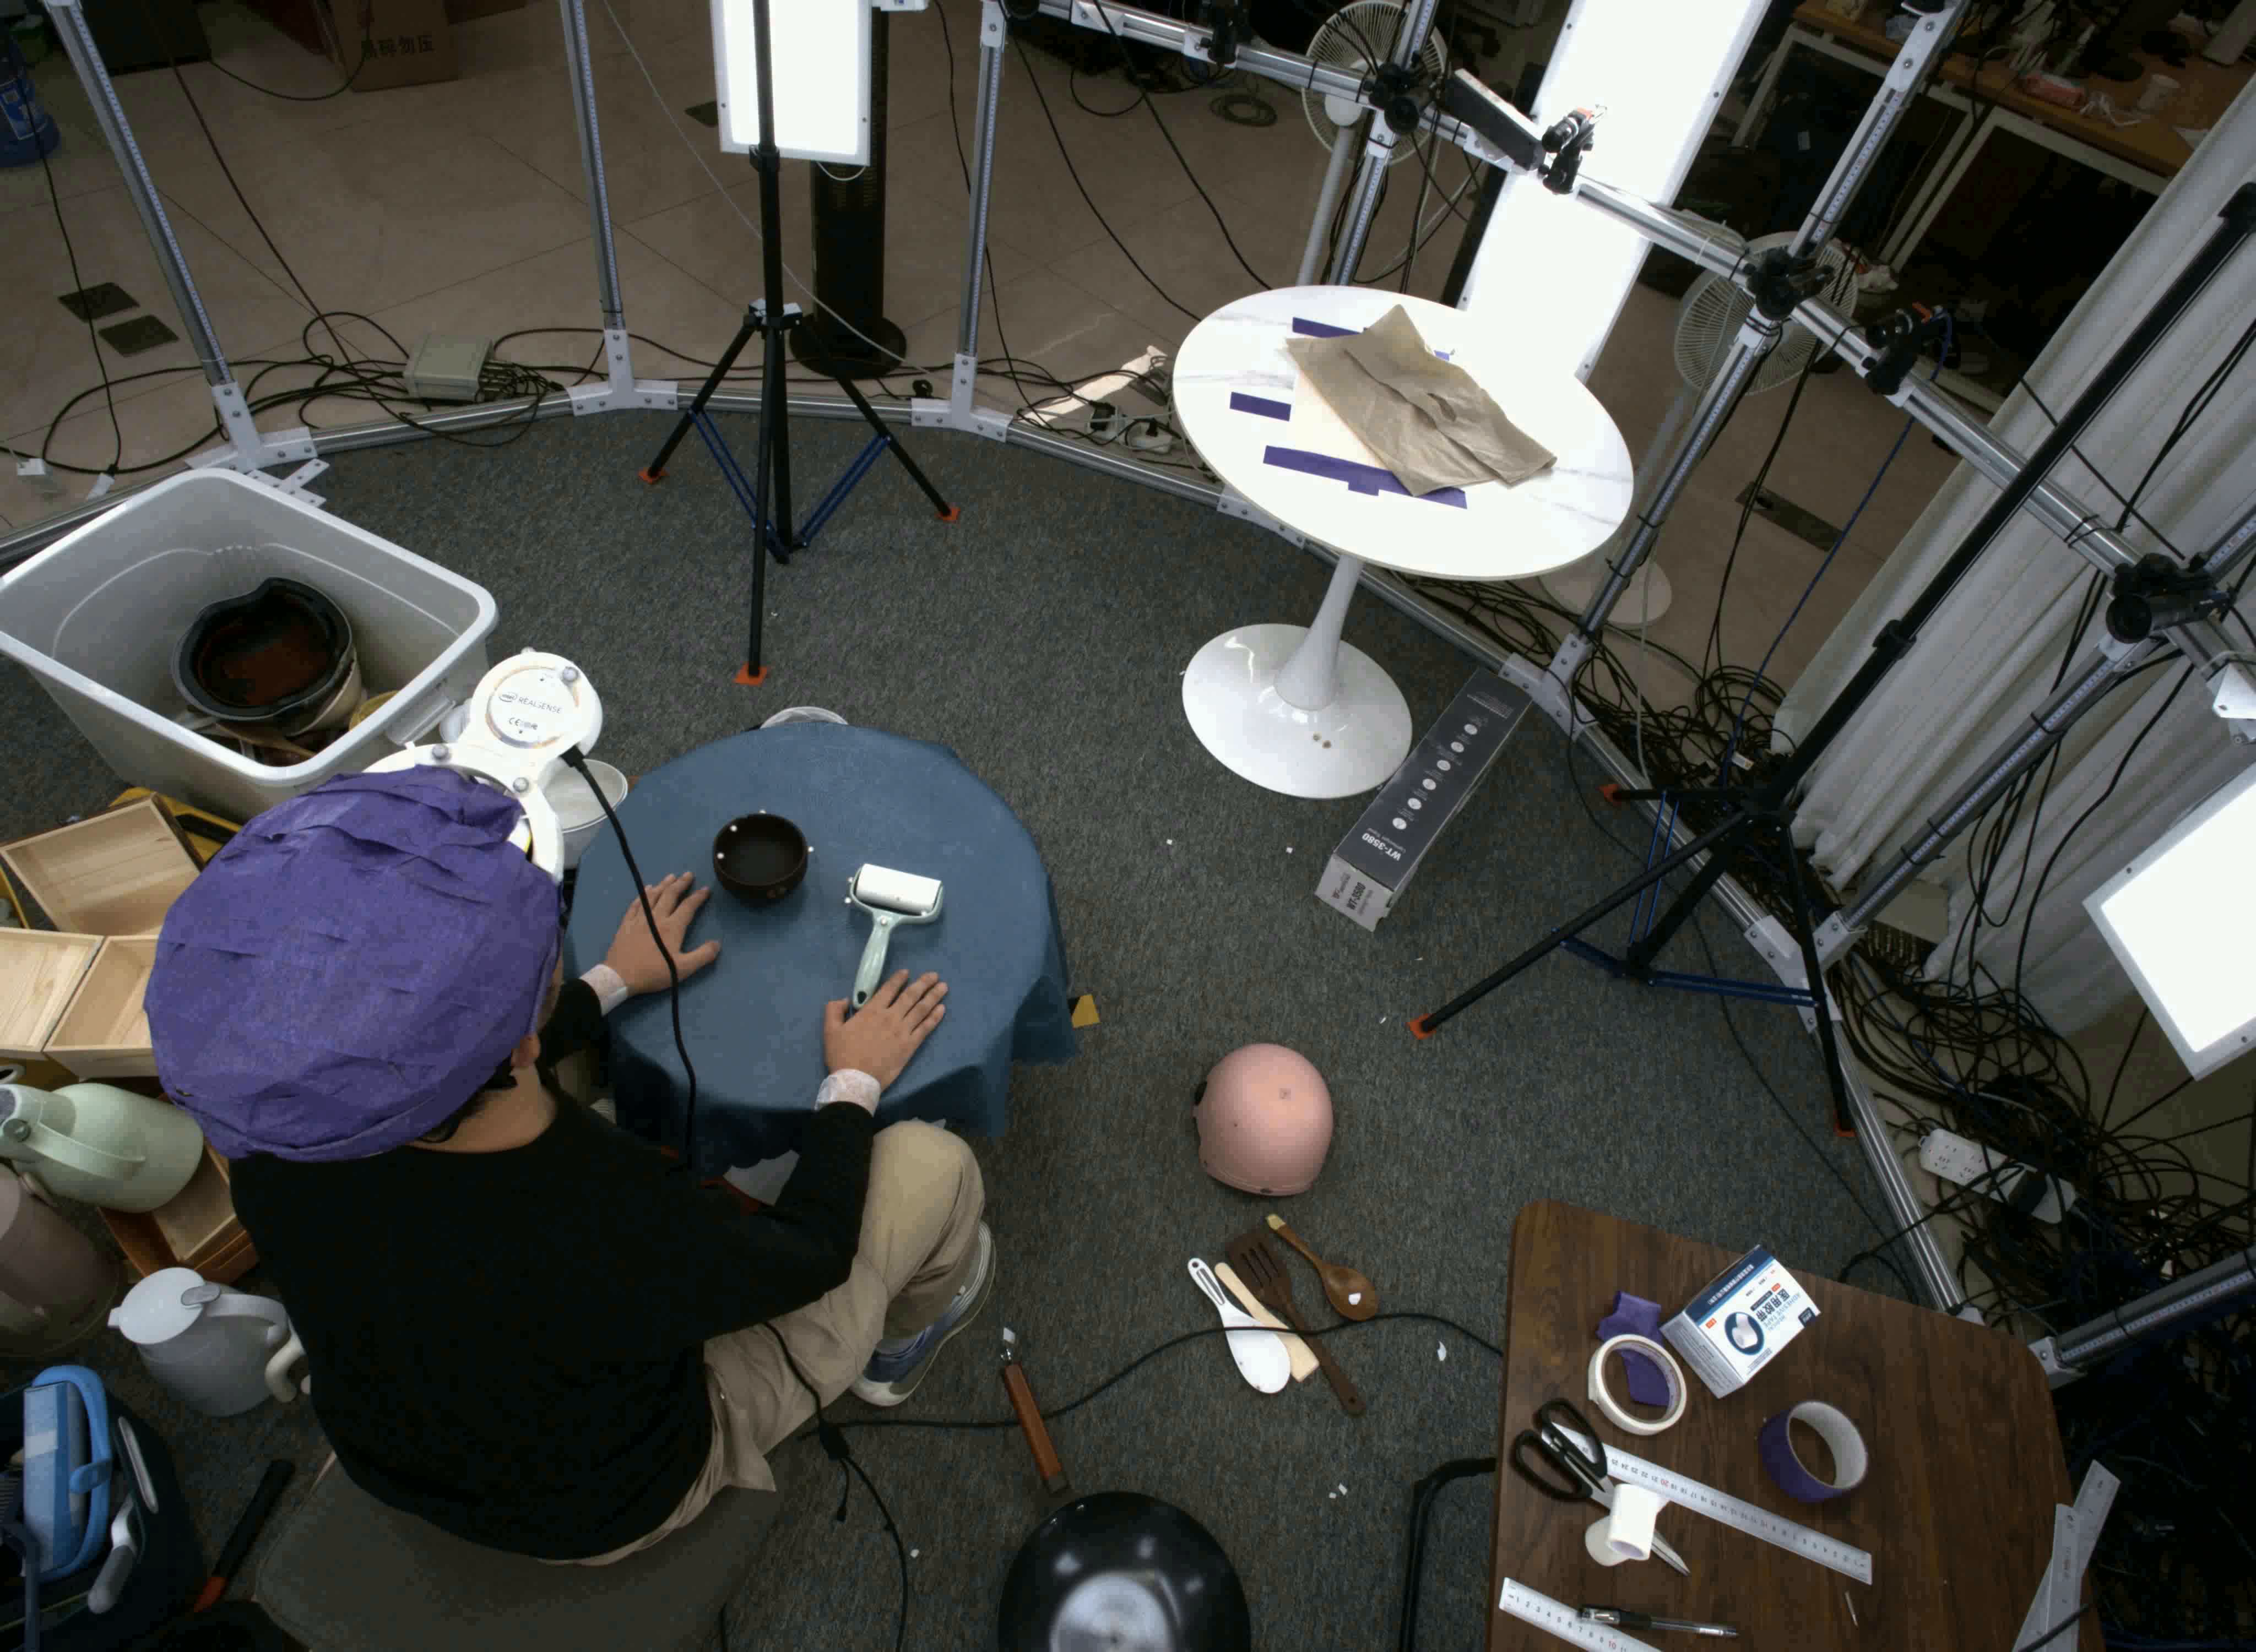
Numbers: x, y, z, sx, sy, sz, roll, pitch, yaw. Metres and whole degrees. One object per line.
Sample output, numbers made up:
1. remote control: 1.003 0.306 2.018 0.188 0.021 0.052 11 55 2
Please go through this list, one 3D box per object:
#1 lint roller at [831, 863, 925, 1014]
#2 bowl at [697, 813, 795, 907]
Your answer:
1. lint roller: -0.327 0.136 1.614 0.116 0.049 0.195 14 54 -5
2. bowl: -0.478 0.049 1.622 0.118 0.071 0.116 8 53 -9
